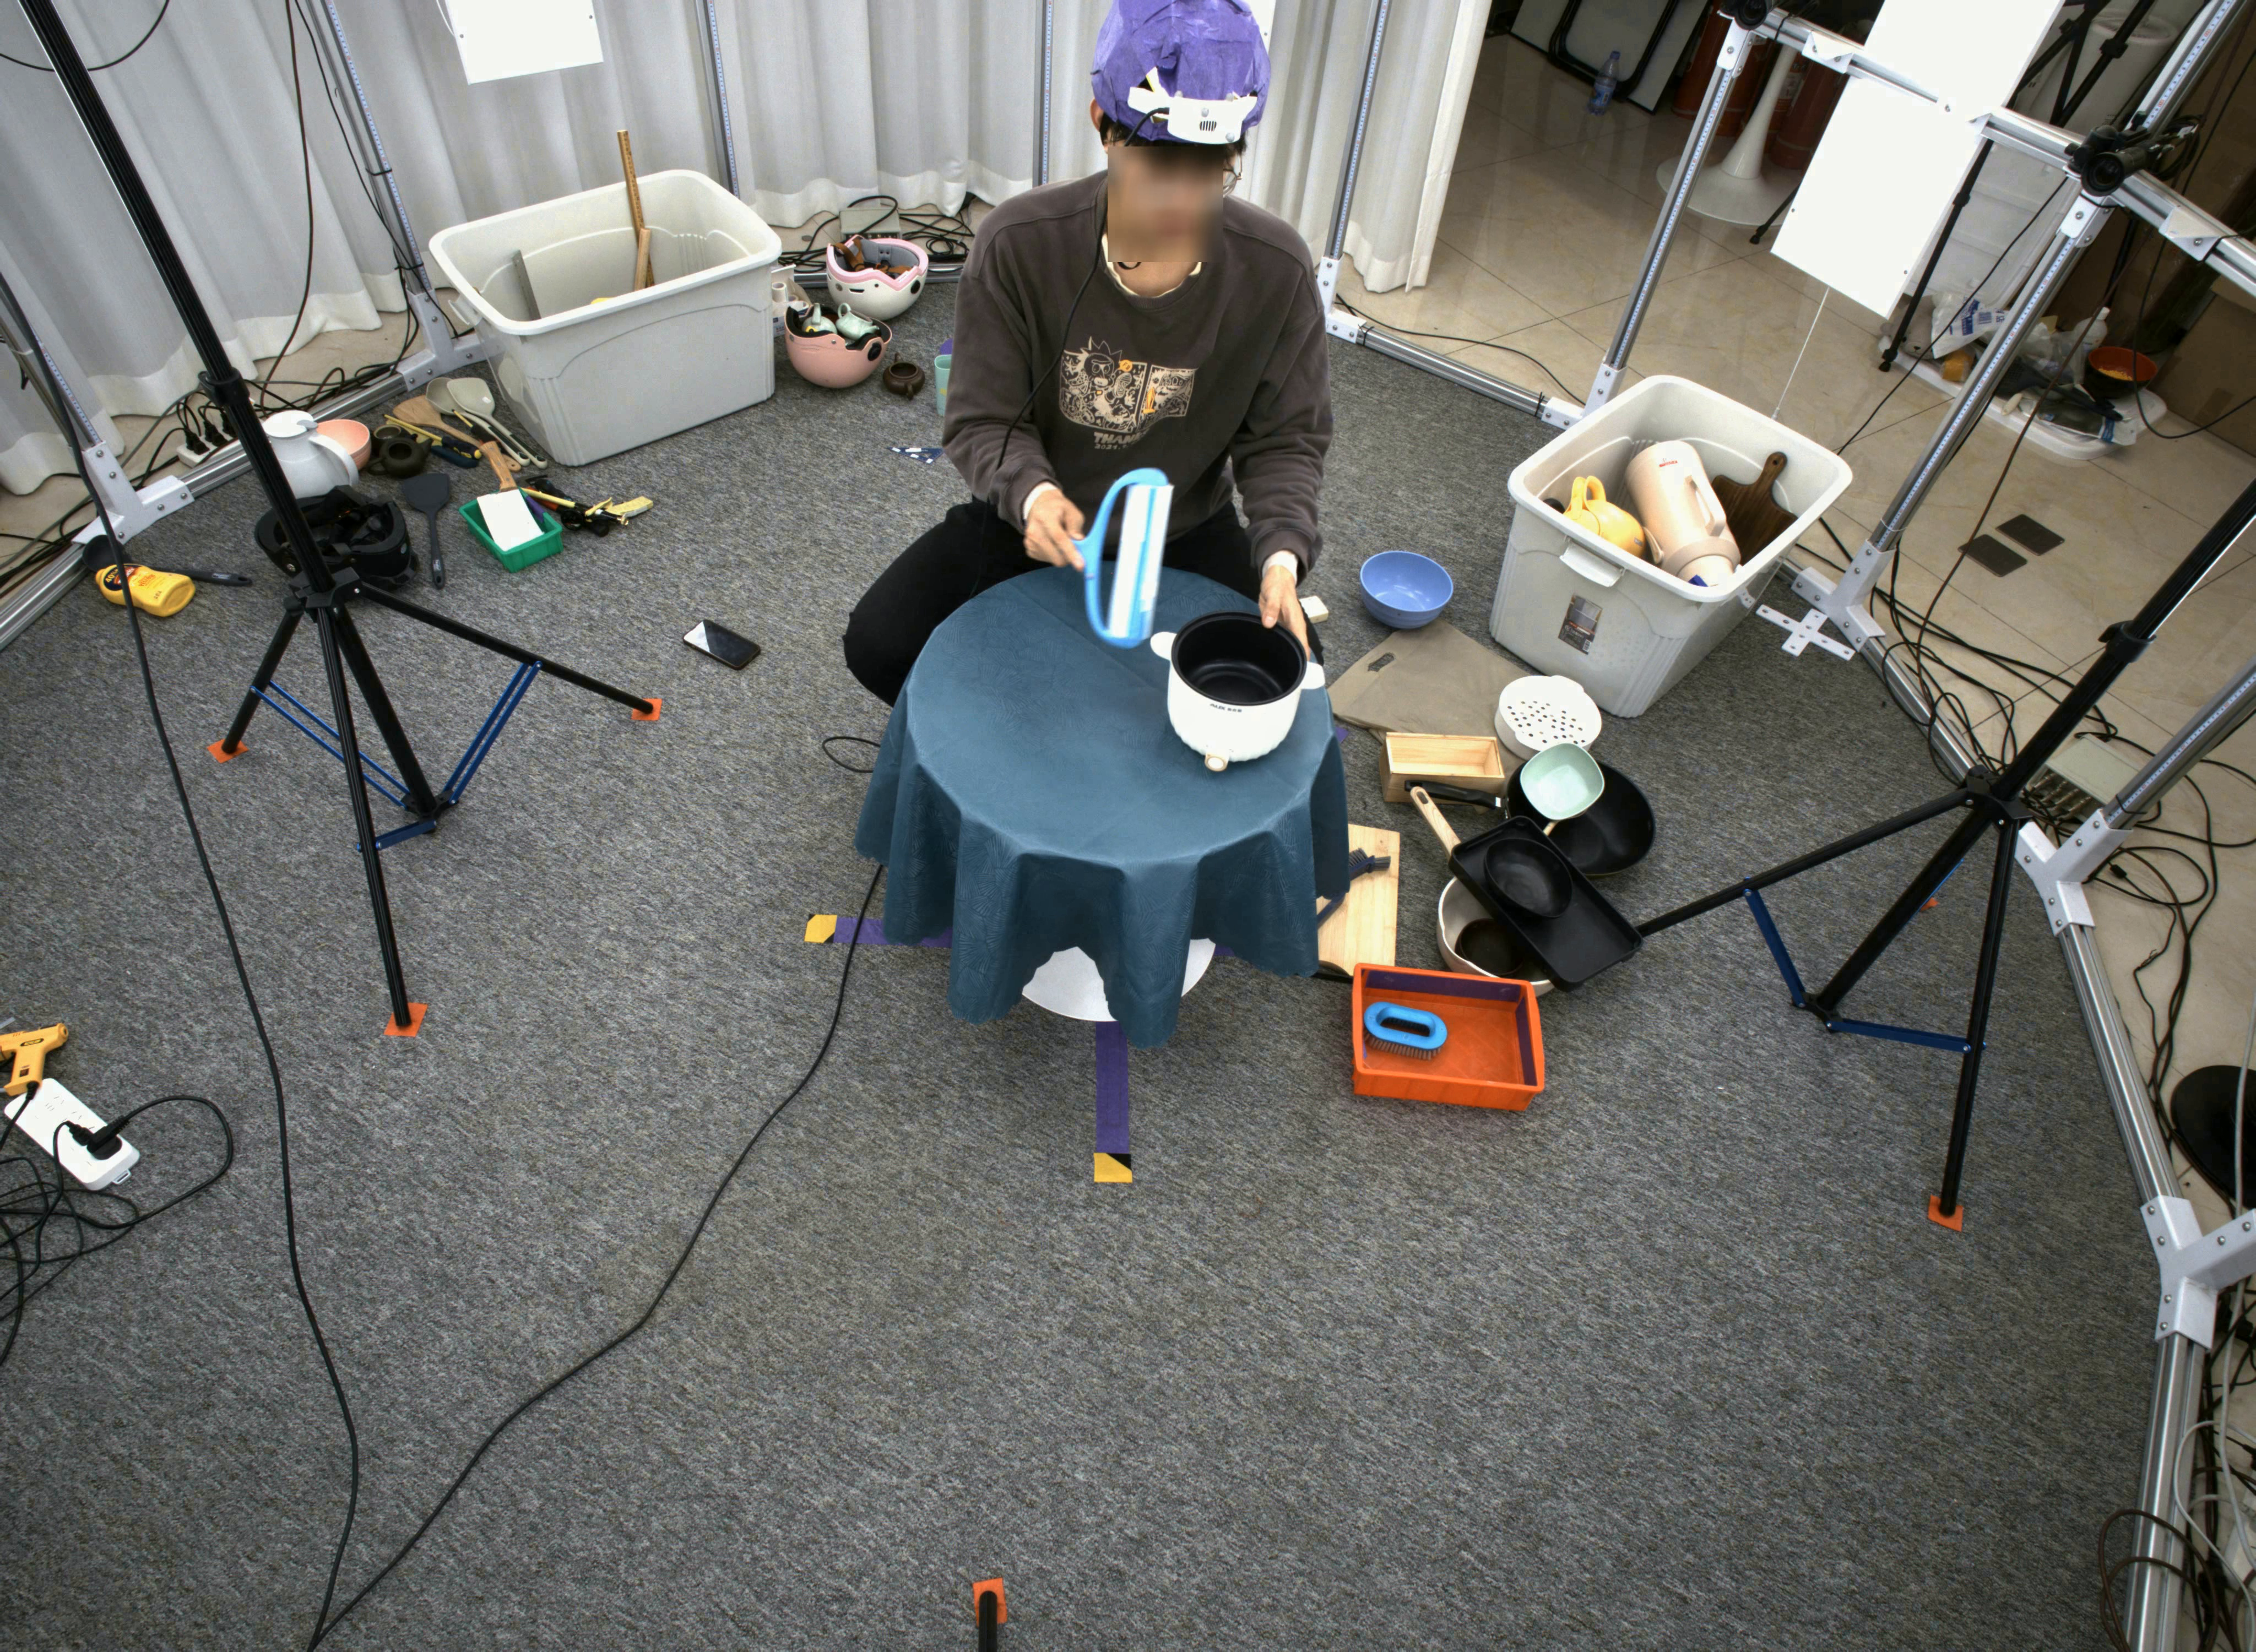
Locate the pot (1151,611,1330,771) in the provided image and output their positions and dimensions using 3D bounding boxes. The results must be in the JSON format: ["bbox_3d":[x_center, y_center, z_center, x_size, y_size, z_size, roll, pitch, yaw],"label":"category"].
[{"bbox_3d":[0.145,-0.178,1.740,0.241,0.139,0.195,11,46,8],"label":"pot"}]

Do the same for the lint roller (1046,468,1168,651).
[{"bbox_3d":[-0.045,-0.350,1.649,0.182,0.226,0.068,17,19,27],"label":"lint roller"}]
